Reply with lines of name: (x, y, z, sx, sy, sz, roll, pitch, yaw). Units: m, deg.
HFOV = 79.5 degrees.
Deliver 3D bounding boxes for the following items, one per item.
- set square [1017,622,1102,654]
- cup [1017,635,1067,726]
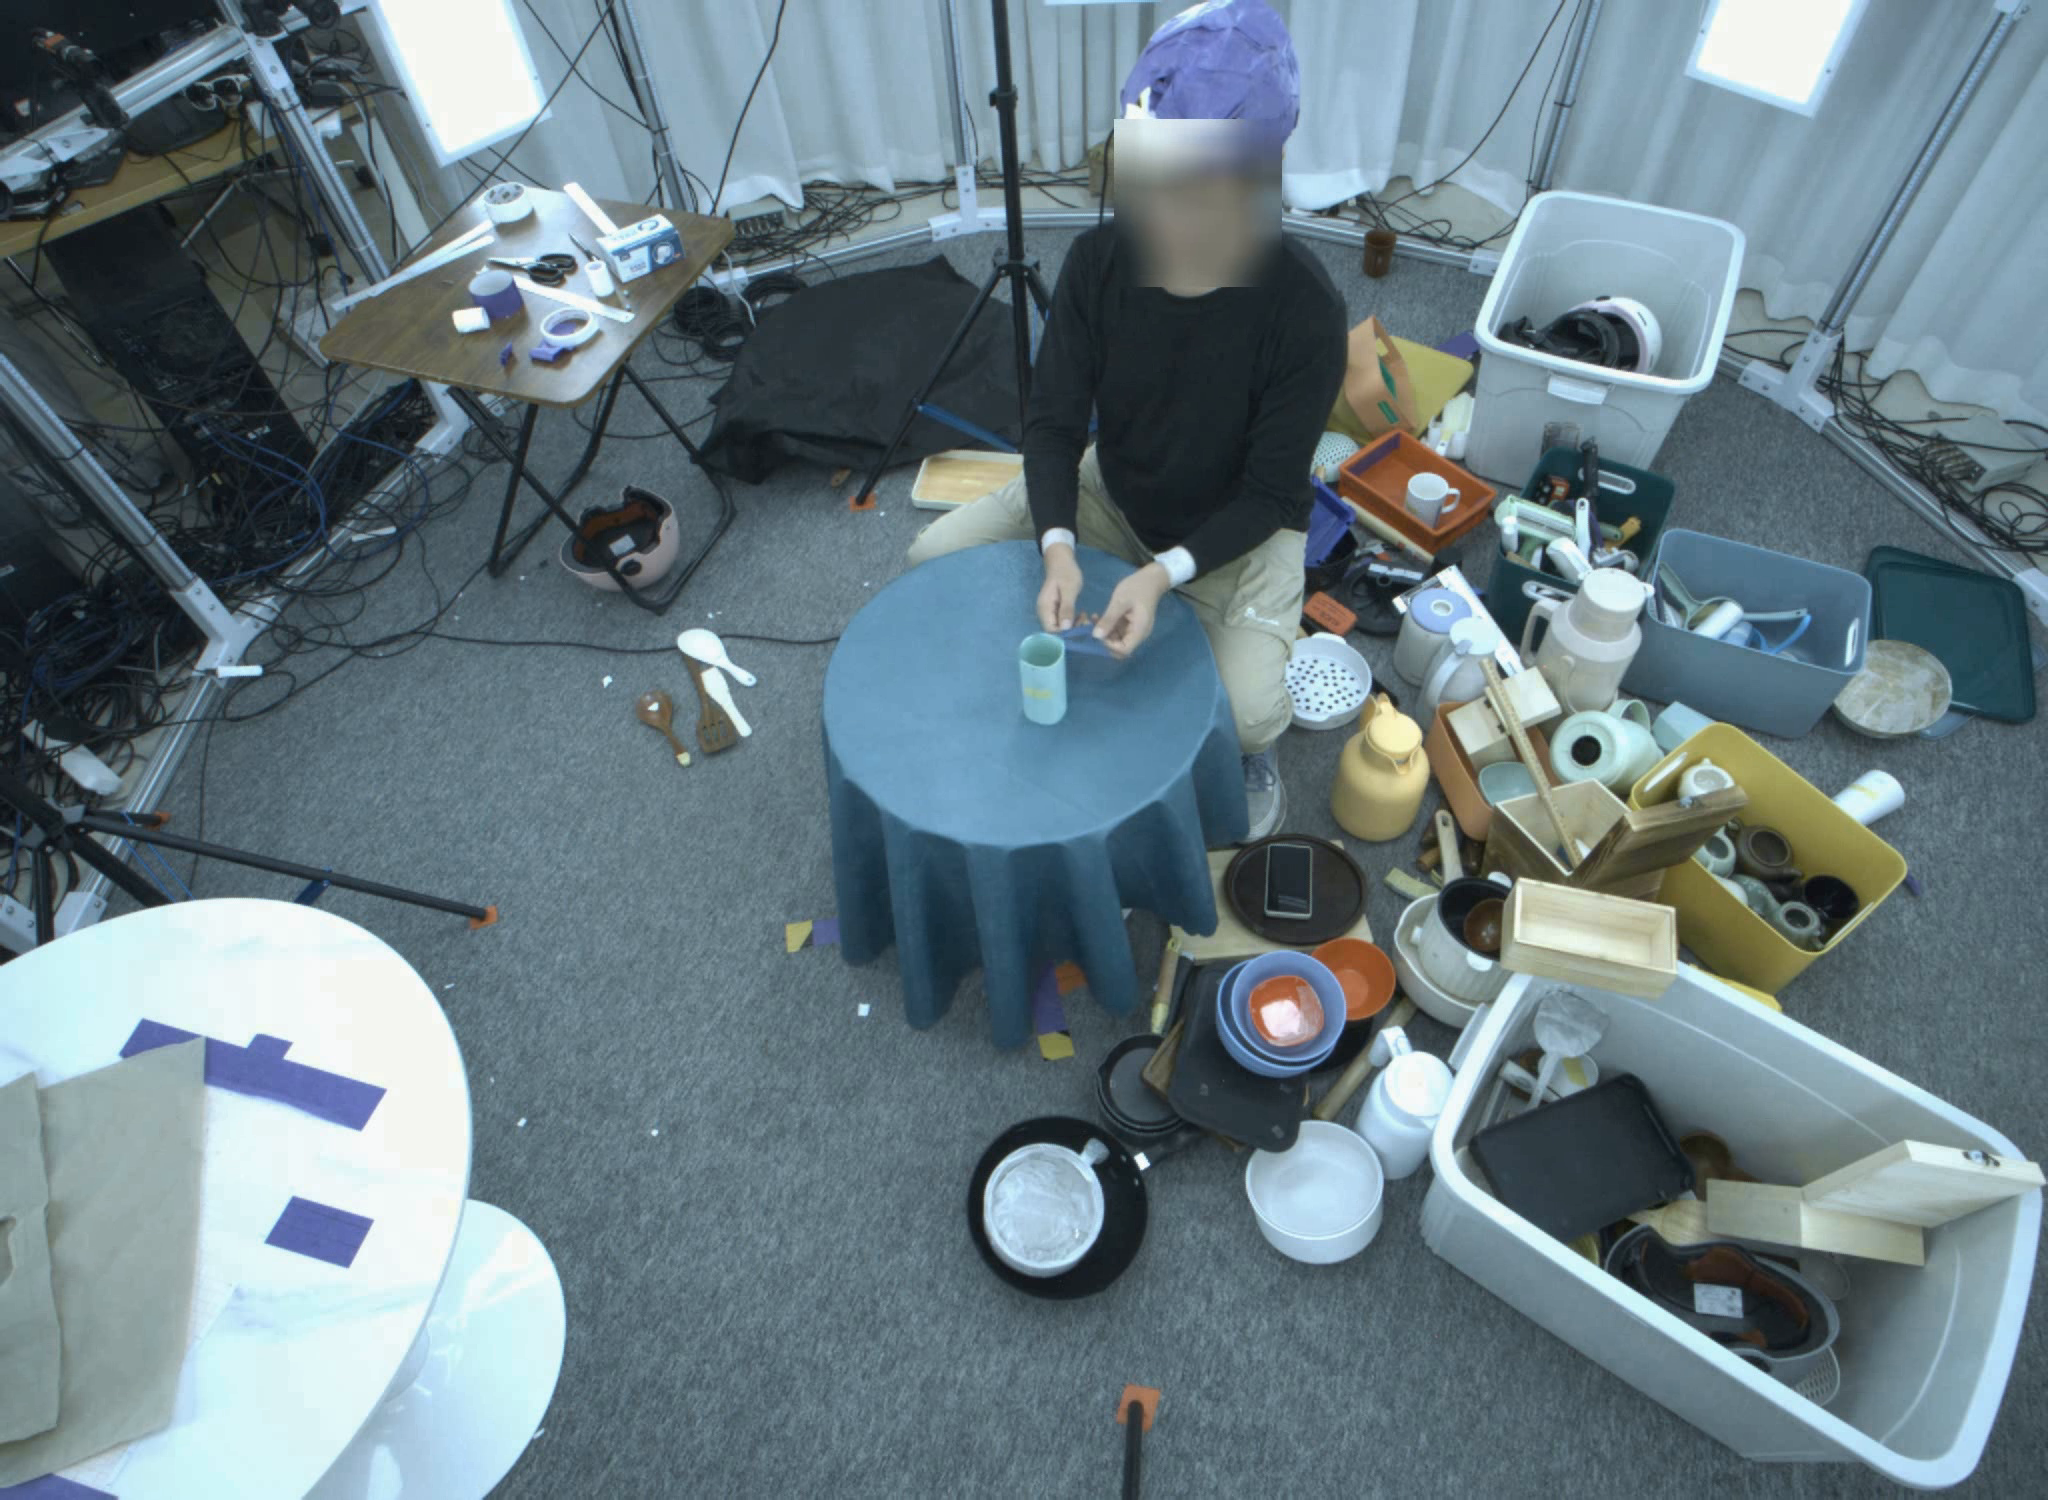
set square: (0.058, -0.175, 1.792, 0.131, 0.006, 0.061, 15, 54, 10)
cup: (0.029, -0.100, 1.782, 0.066, 0.134, 0.066, -2, 55, 4)
